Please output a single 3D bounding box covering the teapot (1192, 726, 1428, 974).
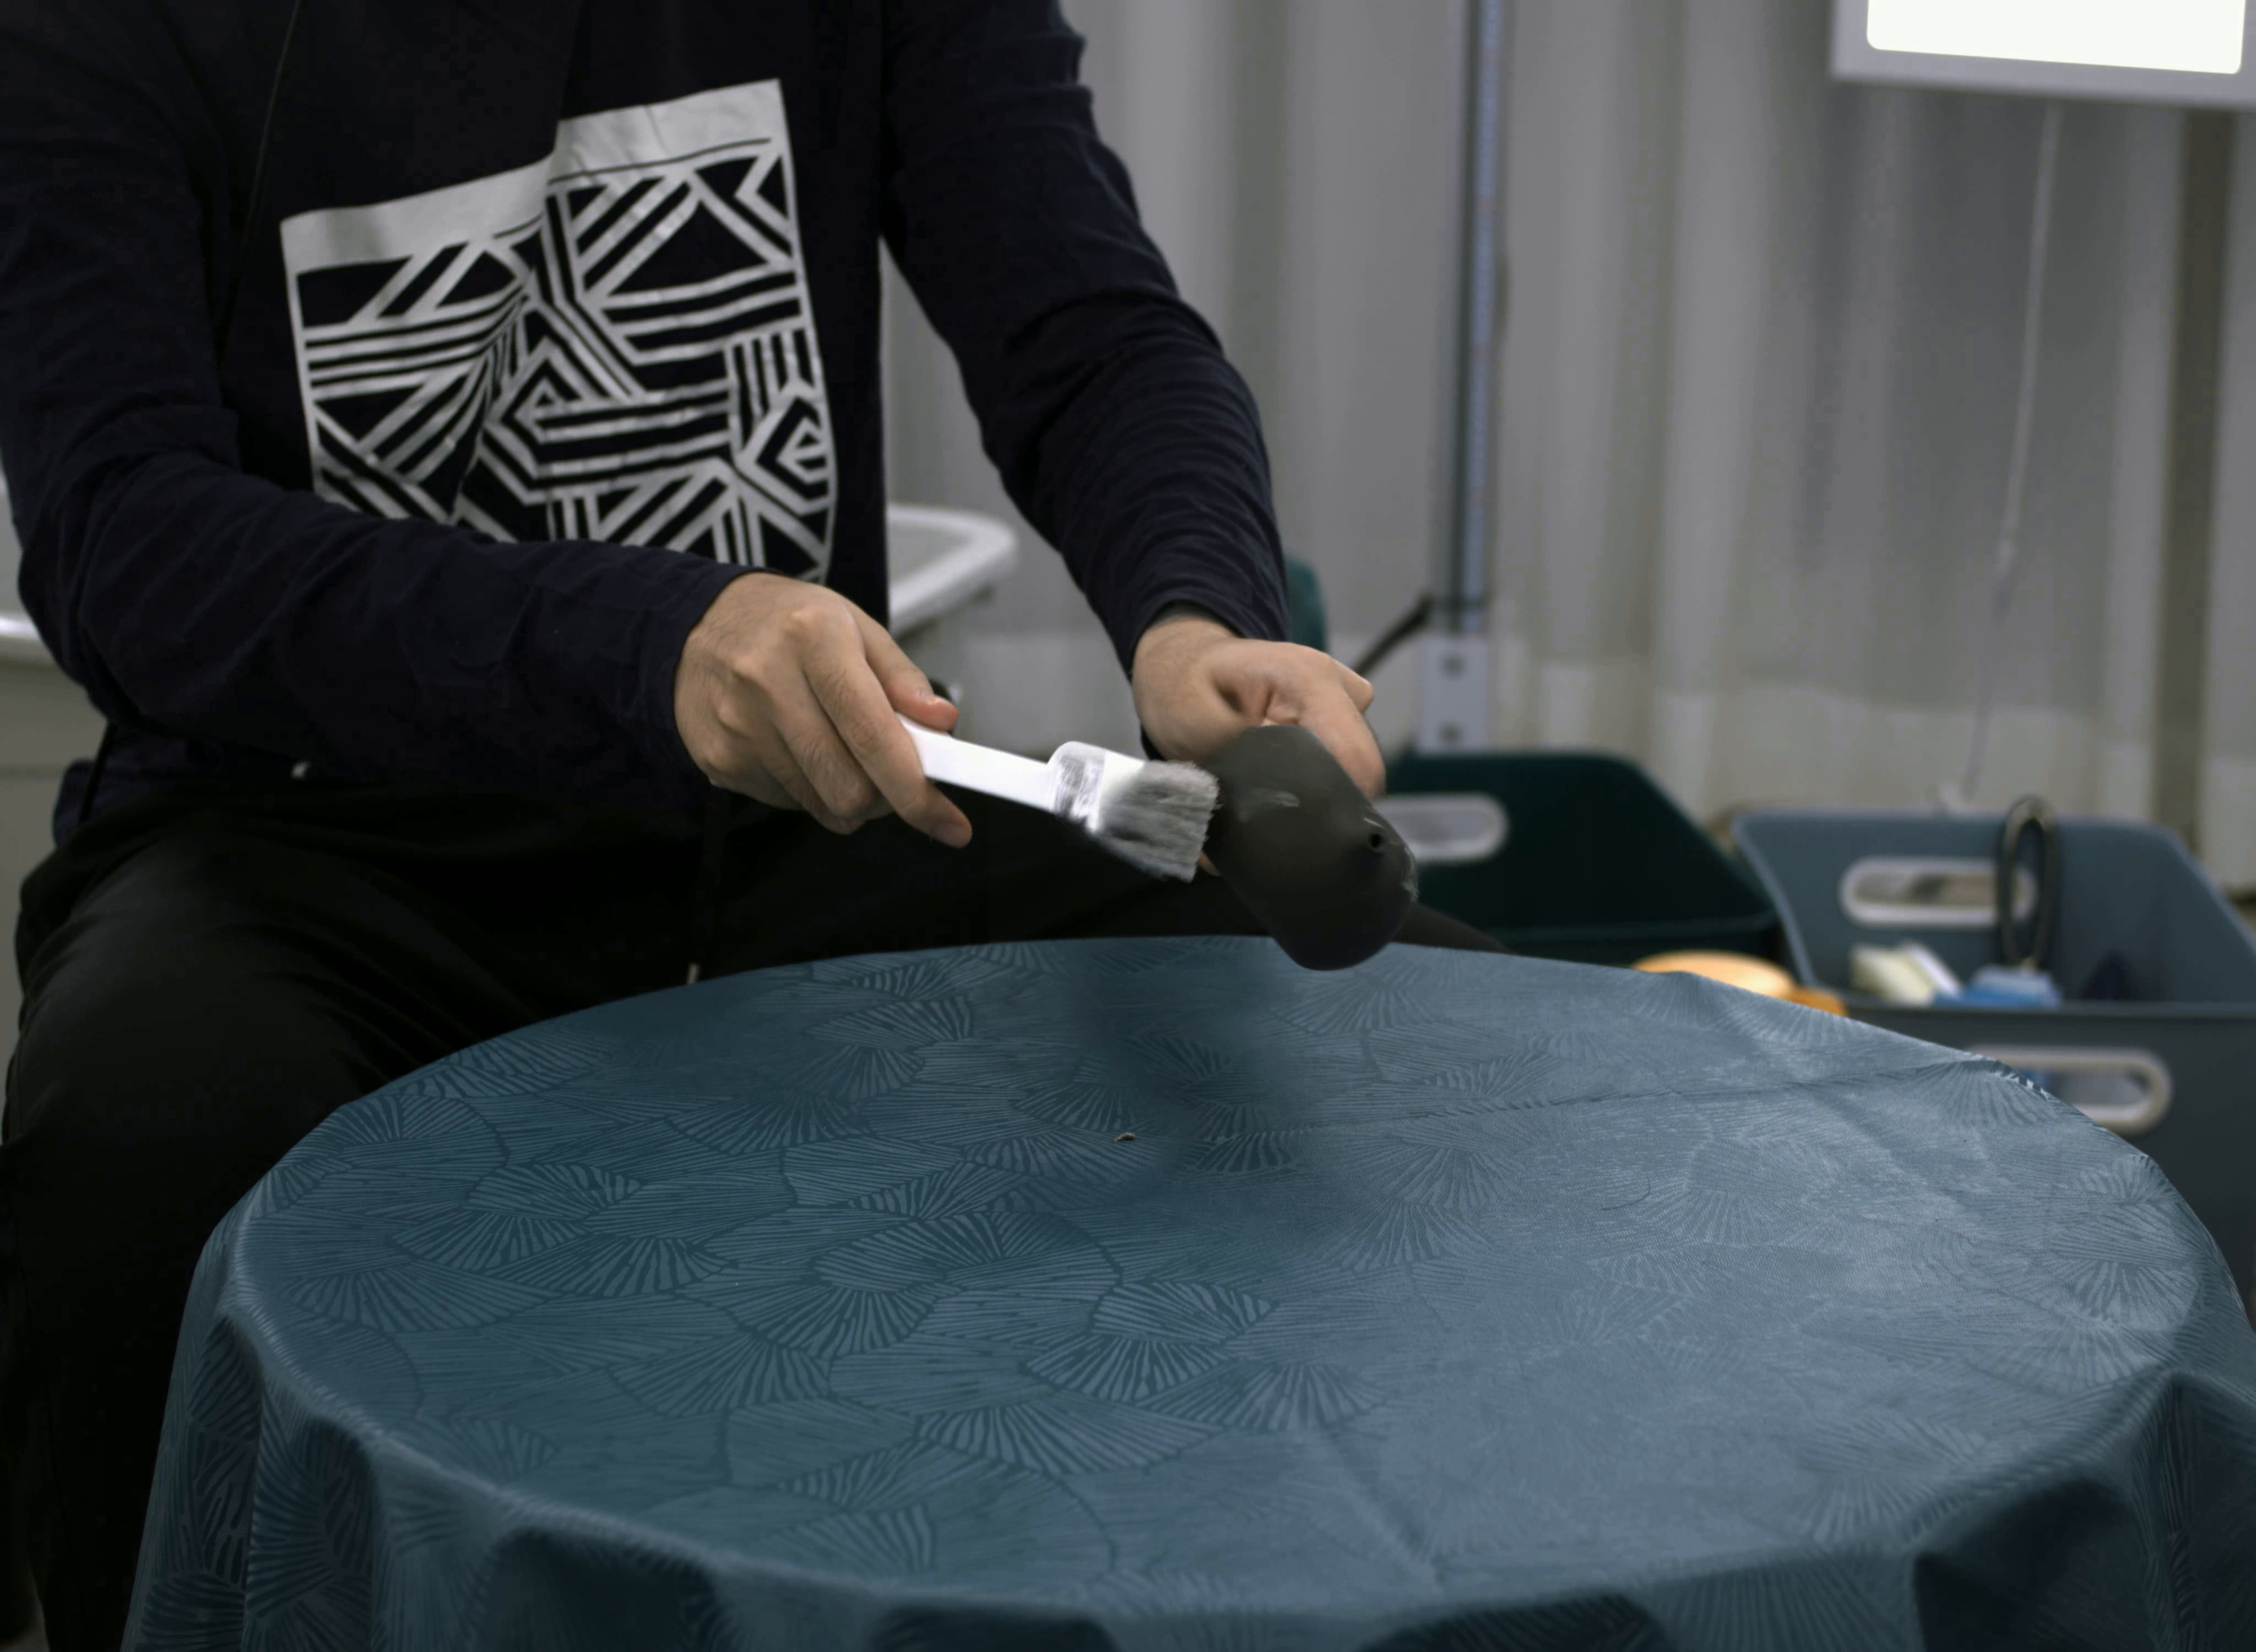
[{"bbox_3d":[0.056,0.003,1.658,0.053,0.083,0.113,-40,16,3],"label":"teapot"}]

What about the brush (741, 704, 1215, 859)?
[{"bbox_3d":[-0.048,-0.017,1.707,0.050,0.034,0.241,11,-1,-34],"label":"brush"}]
